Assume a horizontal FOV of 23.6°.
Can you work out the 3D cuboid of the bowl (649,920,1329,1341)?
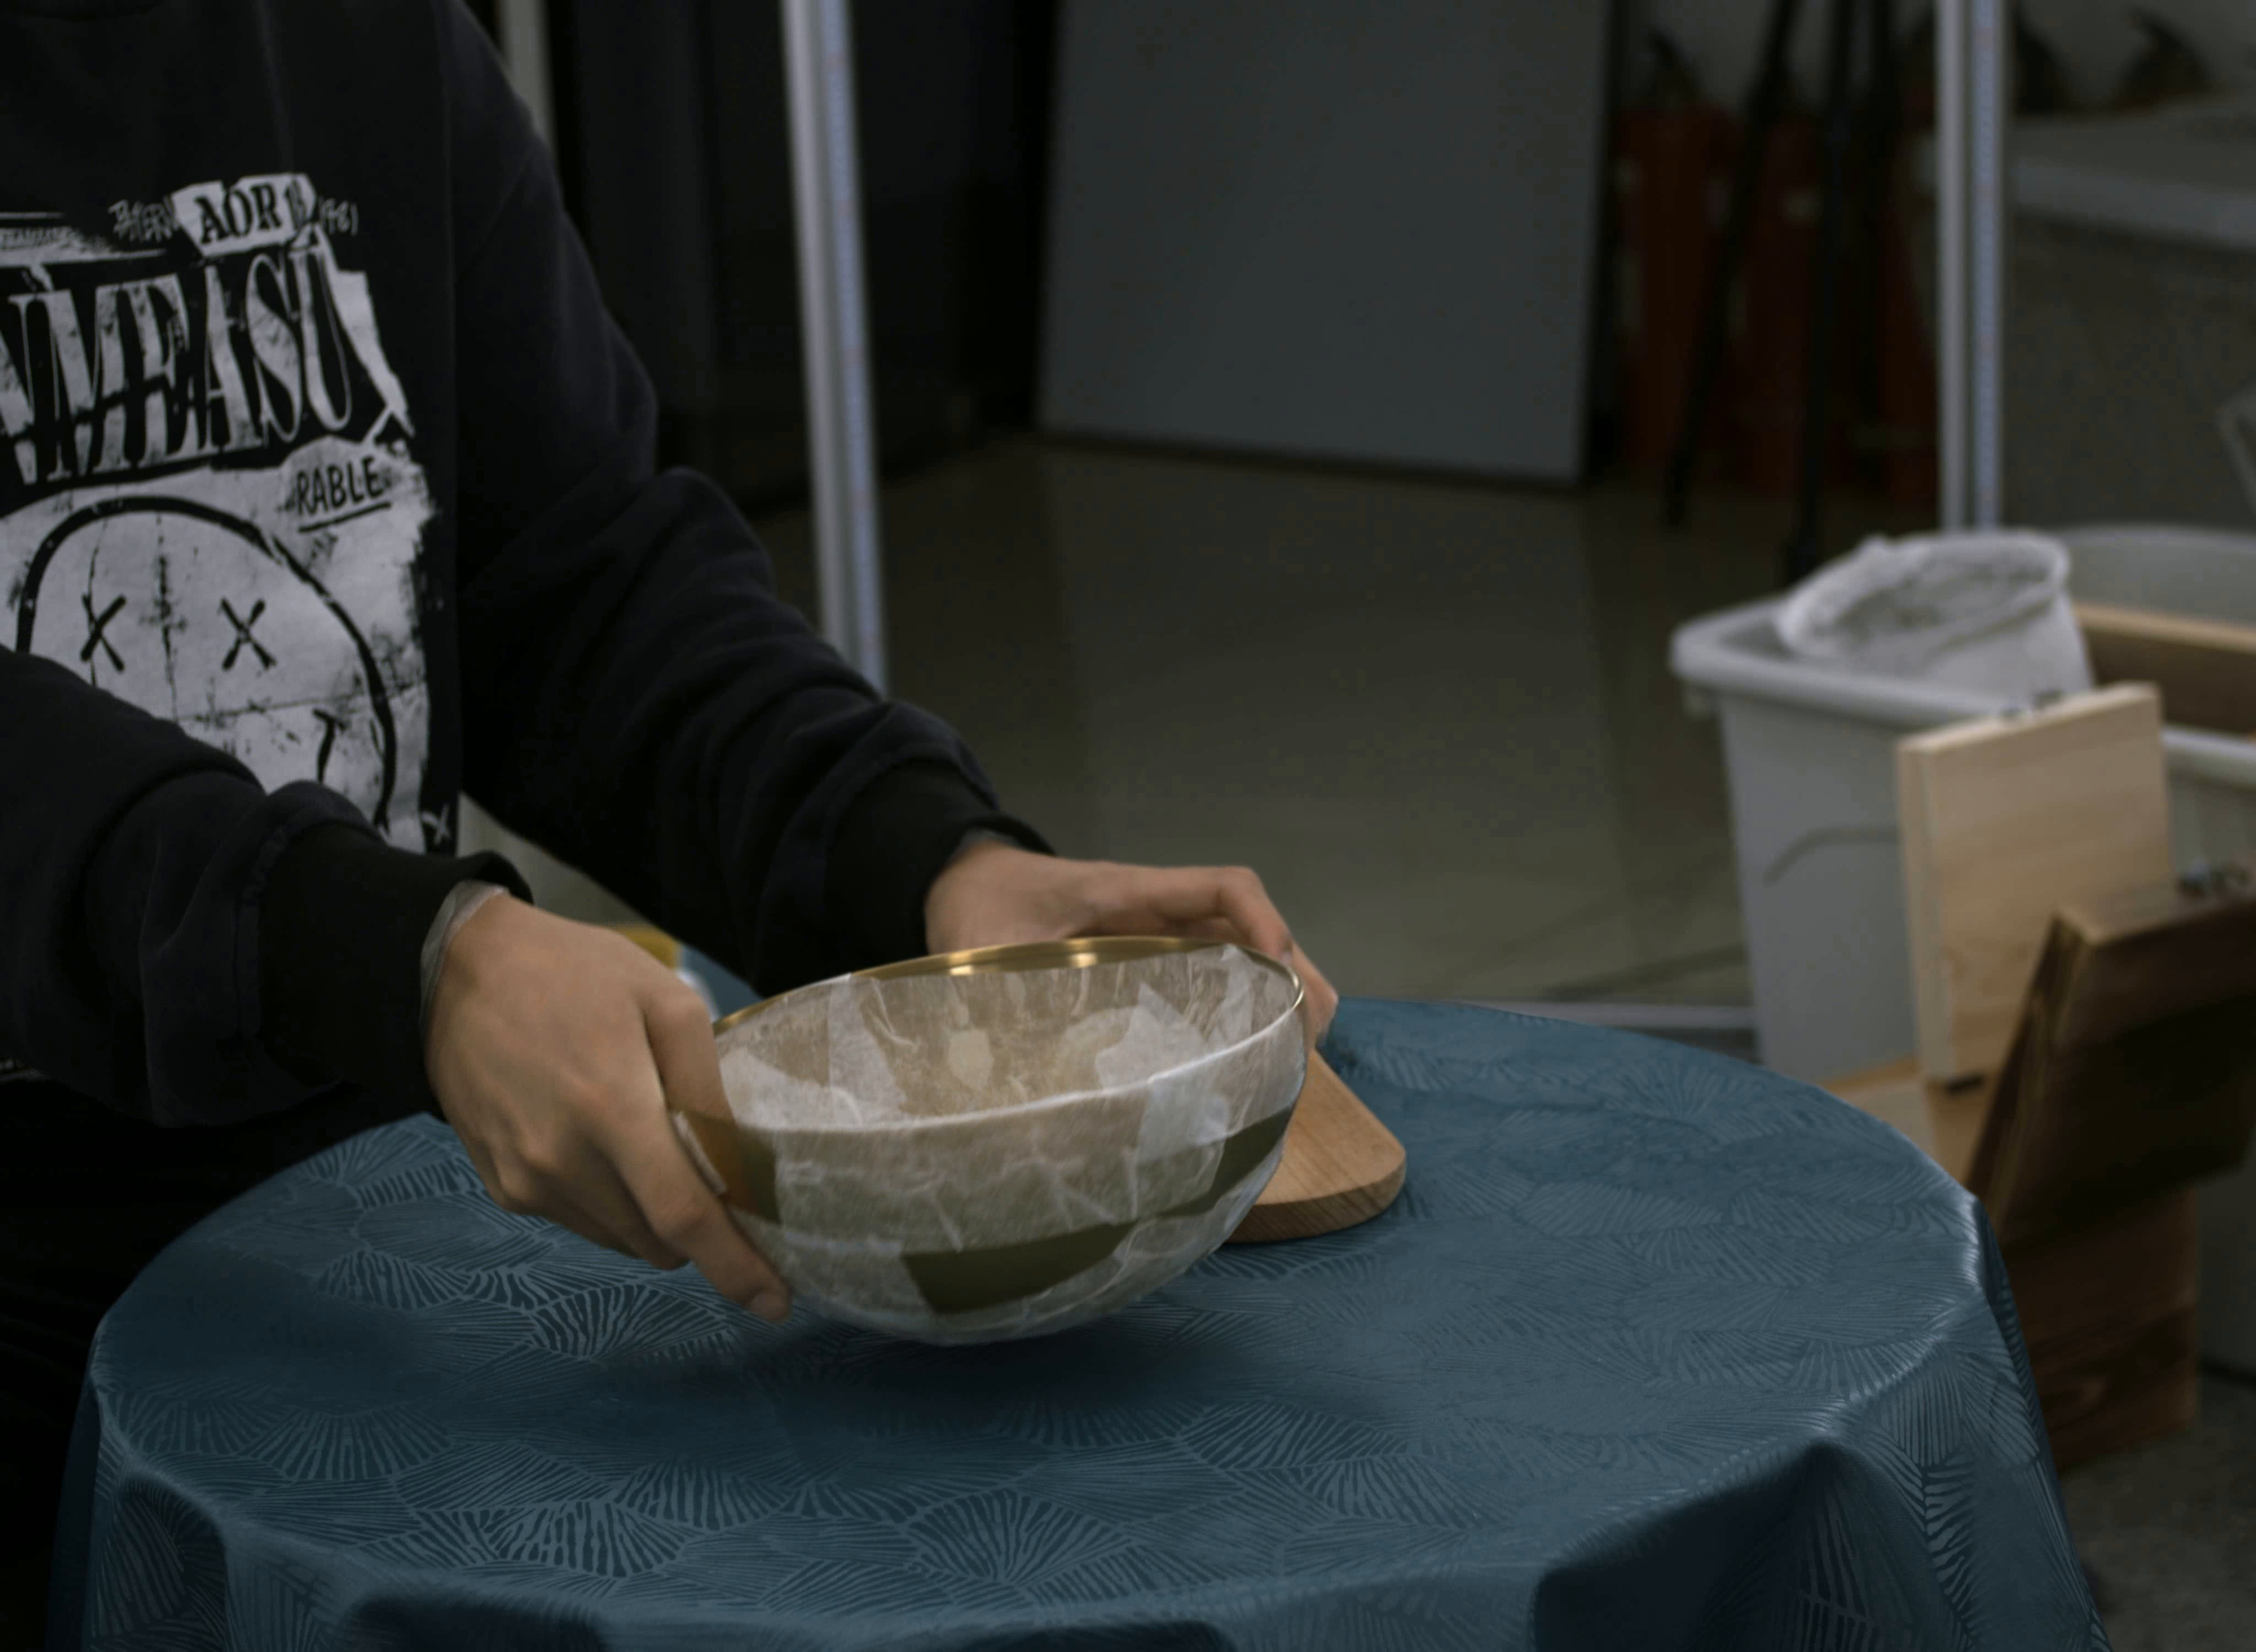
[{"bbox_3d":[-0.037,0.099,1.630,0.212,0.095,0.215,-9,13,1],"label":"bowl"}]

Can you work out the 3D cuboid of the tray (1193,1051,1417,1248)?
[{"bbox_3d":[0.028,0.101,1.811,0.100,0.020,0.233,-7,15,-12],"label":"tray"}]
